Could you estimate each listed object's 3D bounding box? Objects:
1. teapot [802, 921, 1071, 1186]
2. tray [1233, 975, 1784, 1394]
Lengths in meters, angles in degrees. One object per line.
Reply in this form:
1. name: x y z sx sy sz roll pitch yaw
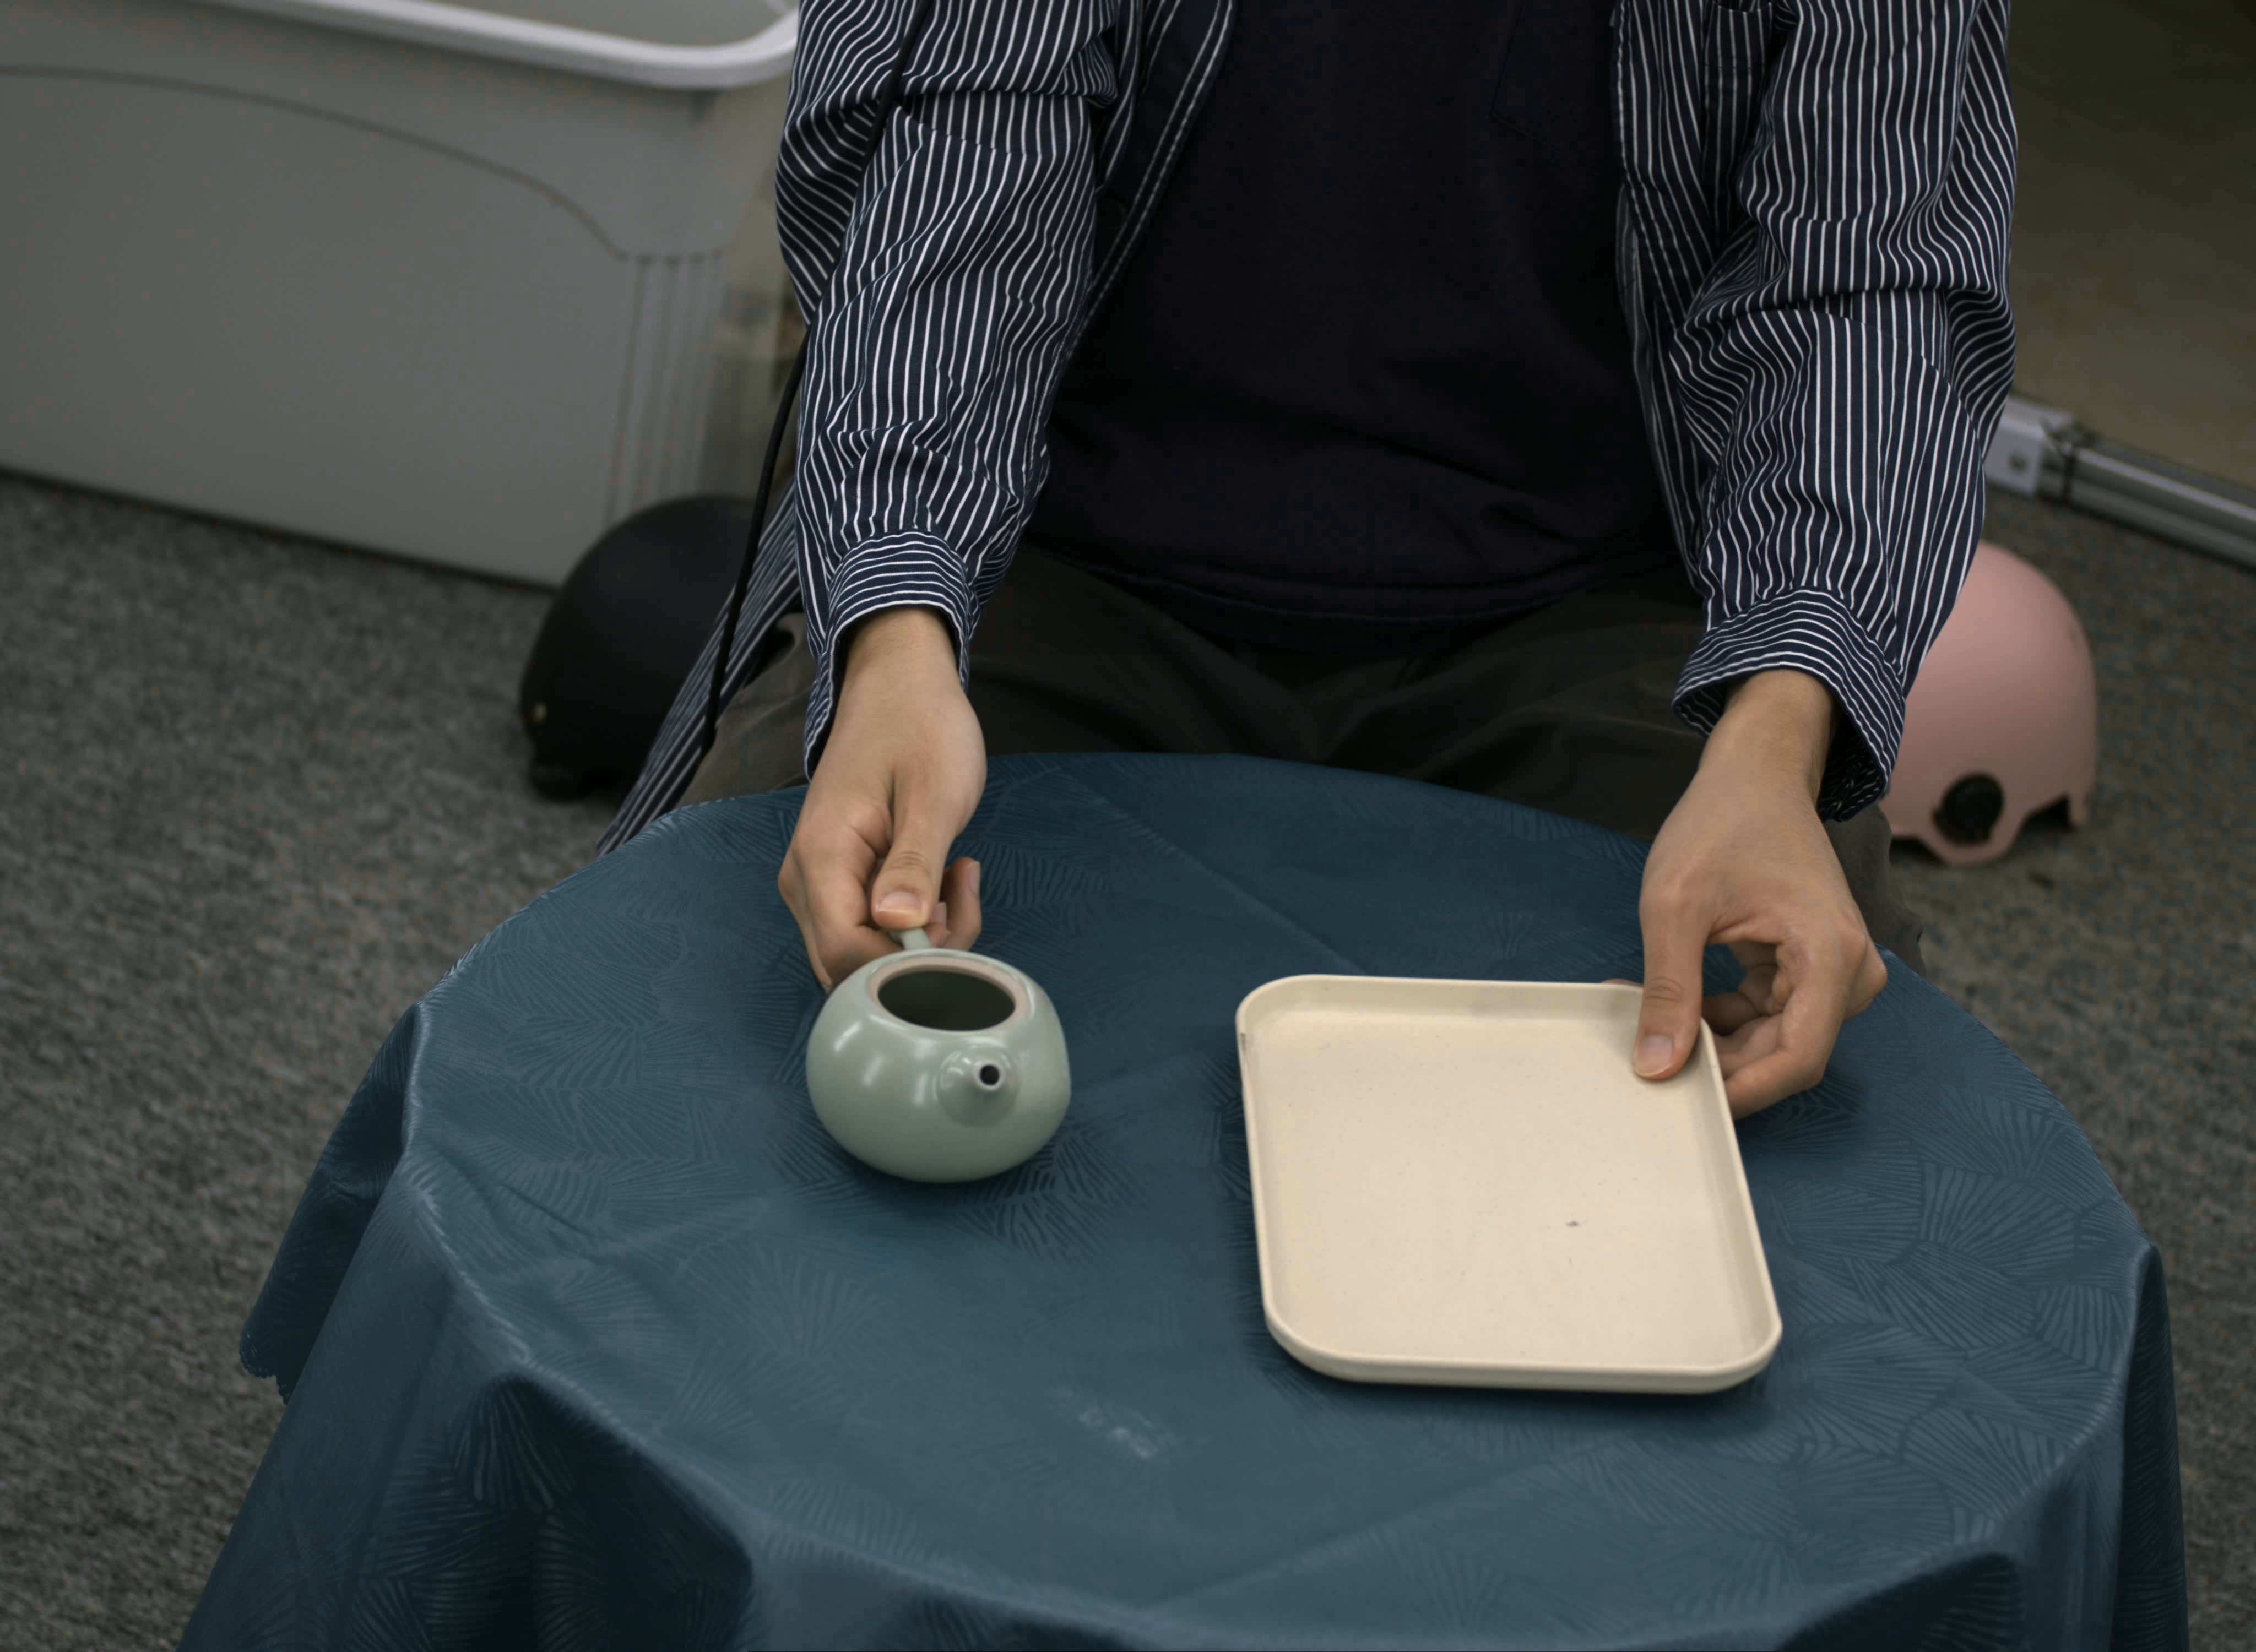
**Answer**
1. teapot: -0.067 0.078 1.810 0.091 0.061 0.129 -2 27 -13
2. tray: 0.124 0.120 1.800 0.170 0.017 0.241 3 29 -3
